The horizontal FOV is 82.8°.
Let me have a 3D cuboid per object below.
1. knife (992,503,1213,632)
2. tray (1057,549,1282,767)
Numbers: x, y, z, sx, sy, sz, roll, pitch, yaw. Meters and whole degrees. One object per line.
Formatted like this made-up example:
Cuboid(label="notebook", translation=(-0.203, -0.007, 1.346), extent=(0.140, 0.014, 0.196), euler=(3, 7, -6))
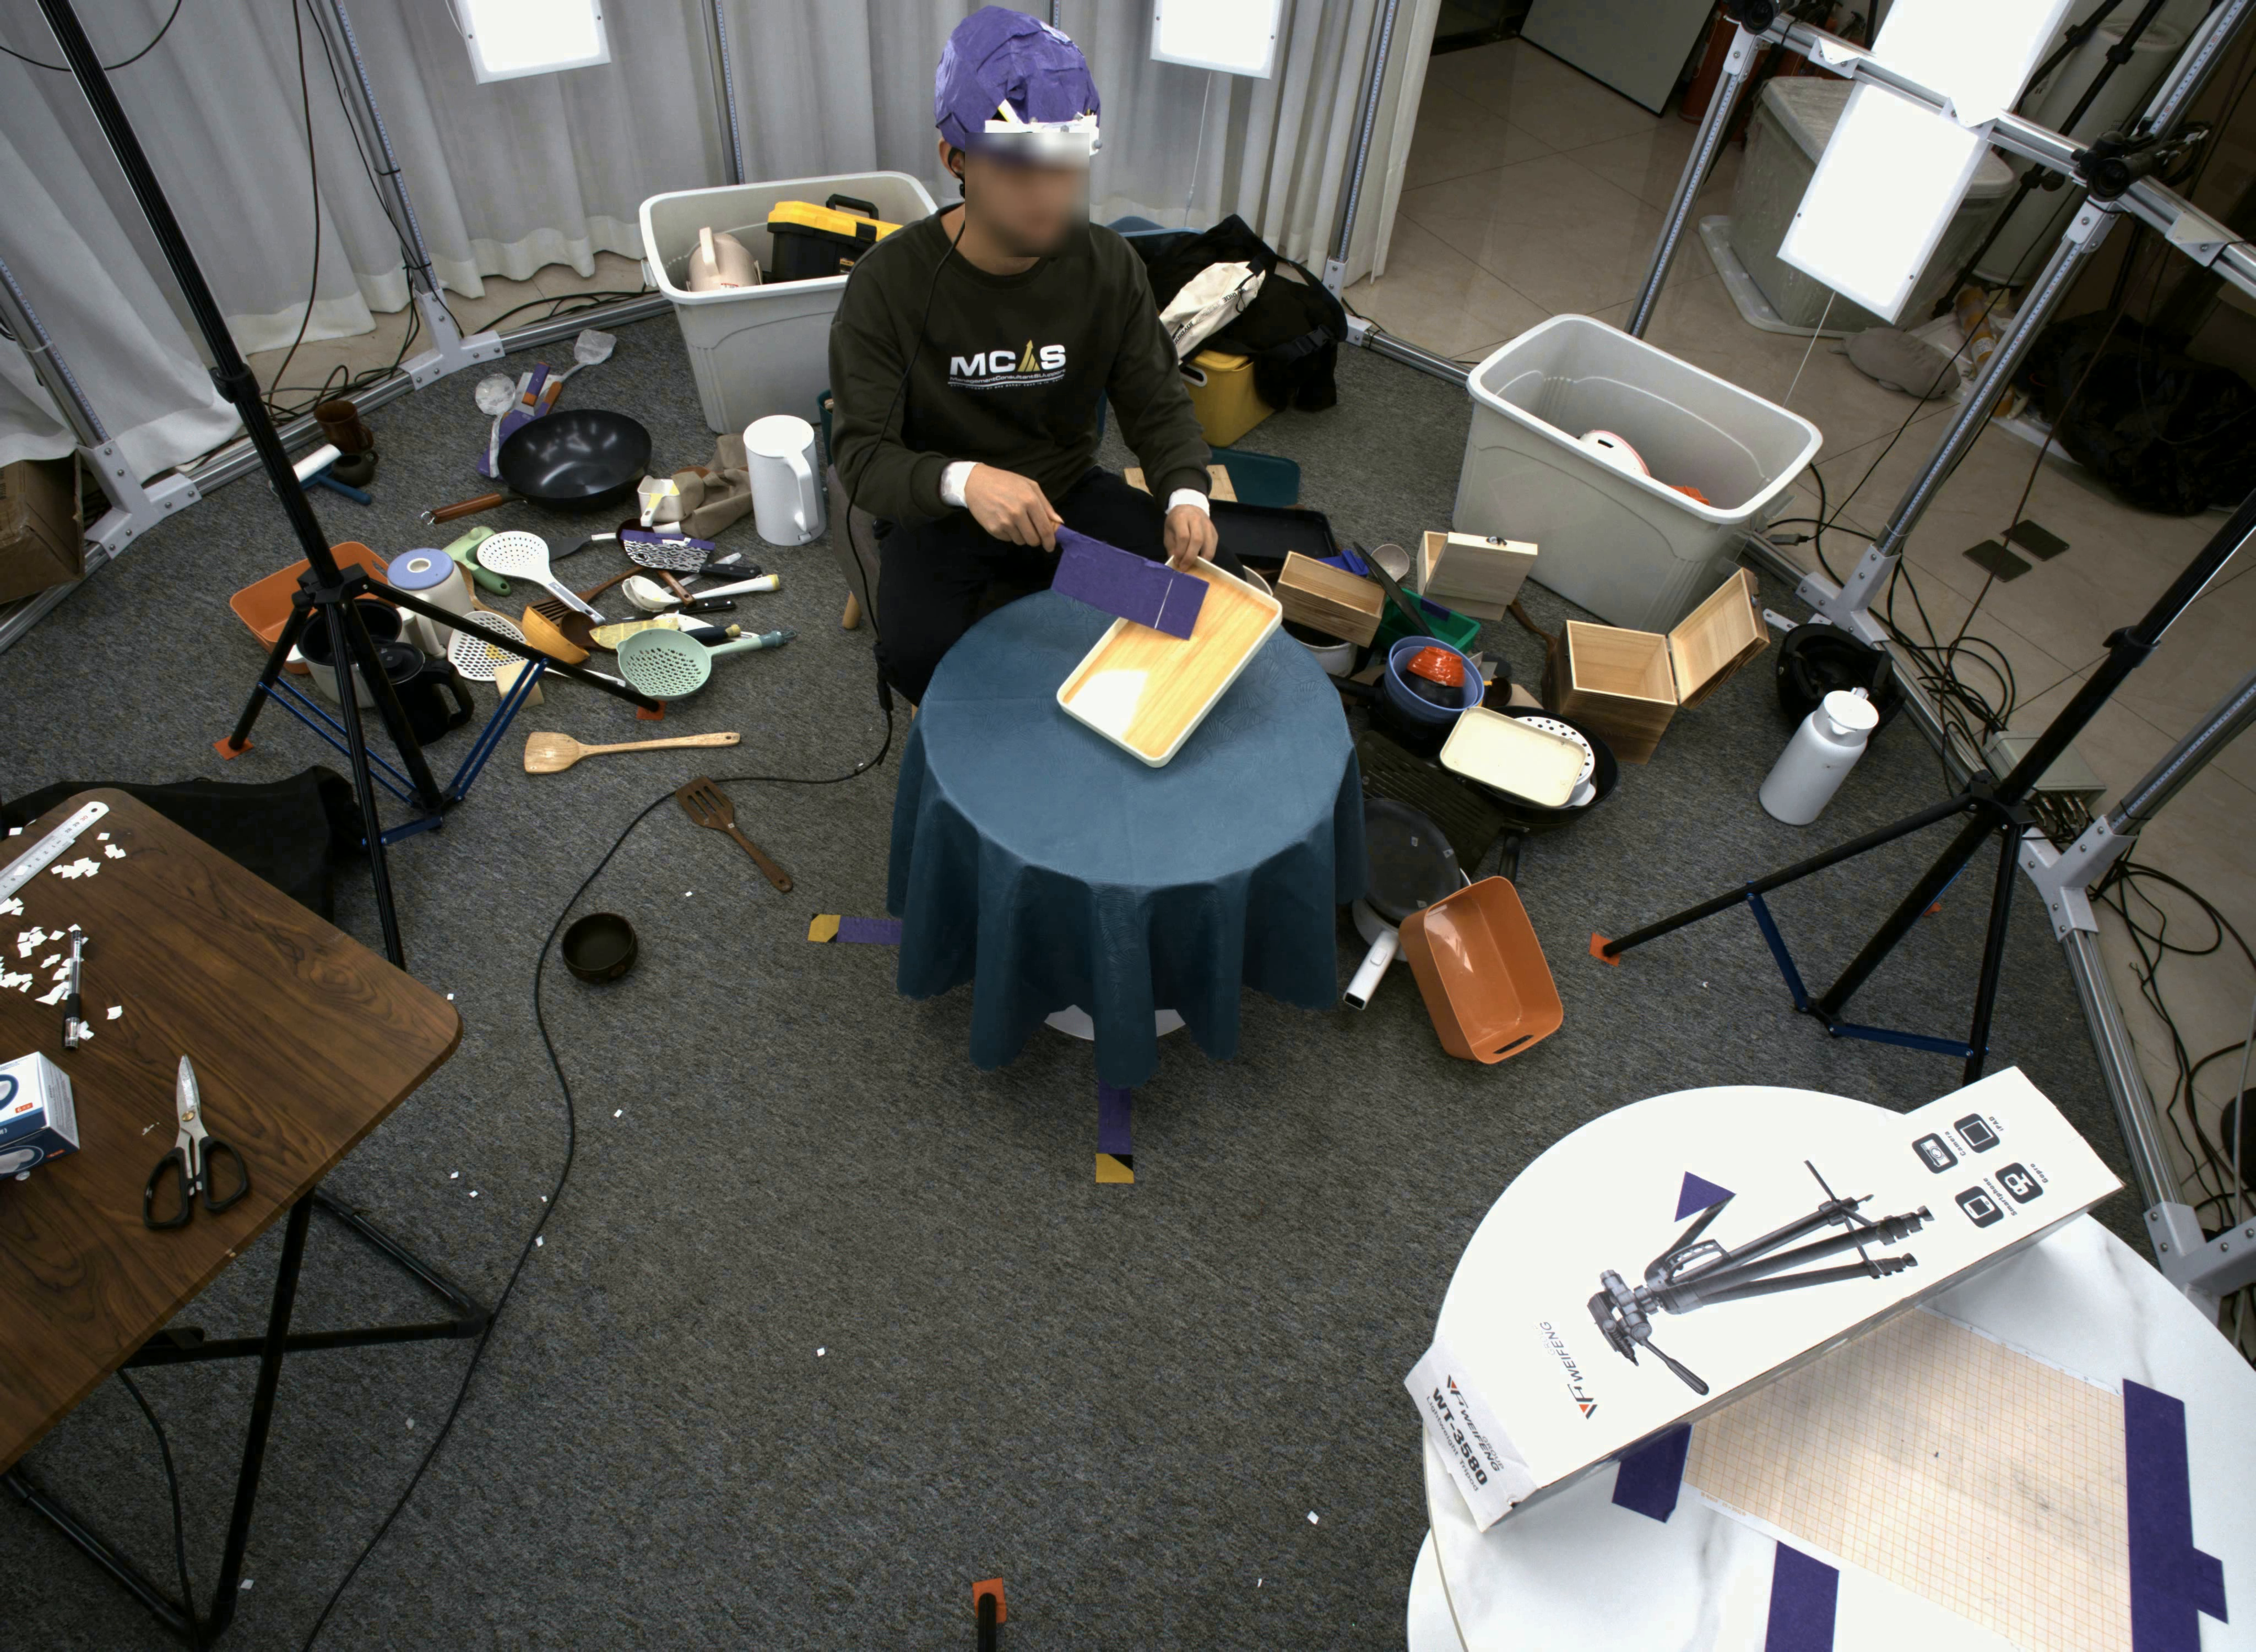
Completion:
Cuboid(label="knife", translation=(-0.045, -0.351, 1.778), extent=(0.315, 0.102, 0.033), euler=(20, 23, -1))
Cuboid(label="tray", translation=(0.059, -0.240, 1.798), extent=(0.194, 0.027, 0.302), euler=(33, 74, 23))
